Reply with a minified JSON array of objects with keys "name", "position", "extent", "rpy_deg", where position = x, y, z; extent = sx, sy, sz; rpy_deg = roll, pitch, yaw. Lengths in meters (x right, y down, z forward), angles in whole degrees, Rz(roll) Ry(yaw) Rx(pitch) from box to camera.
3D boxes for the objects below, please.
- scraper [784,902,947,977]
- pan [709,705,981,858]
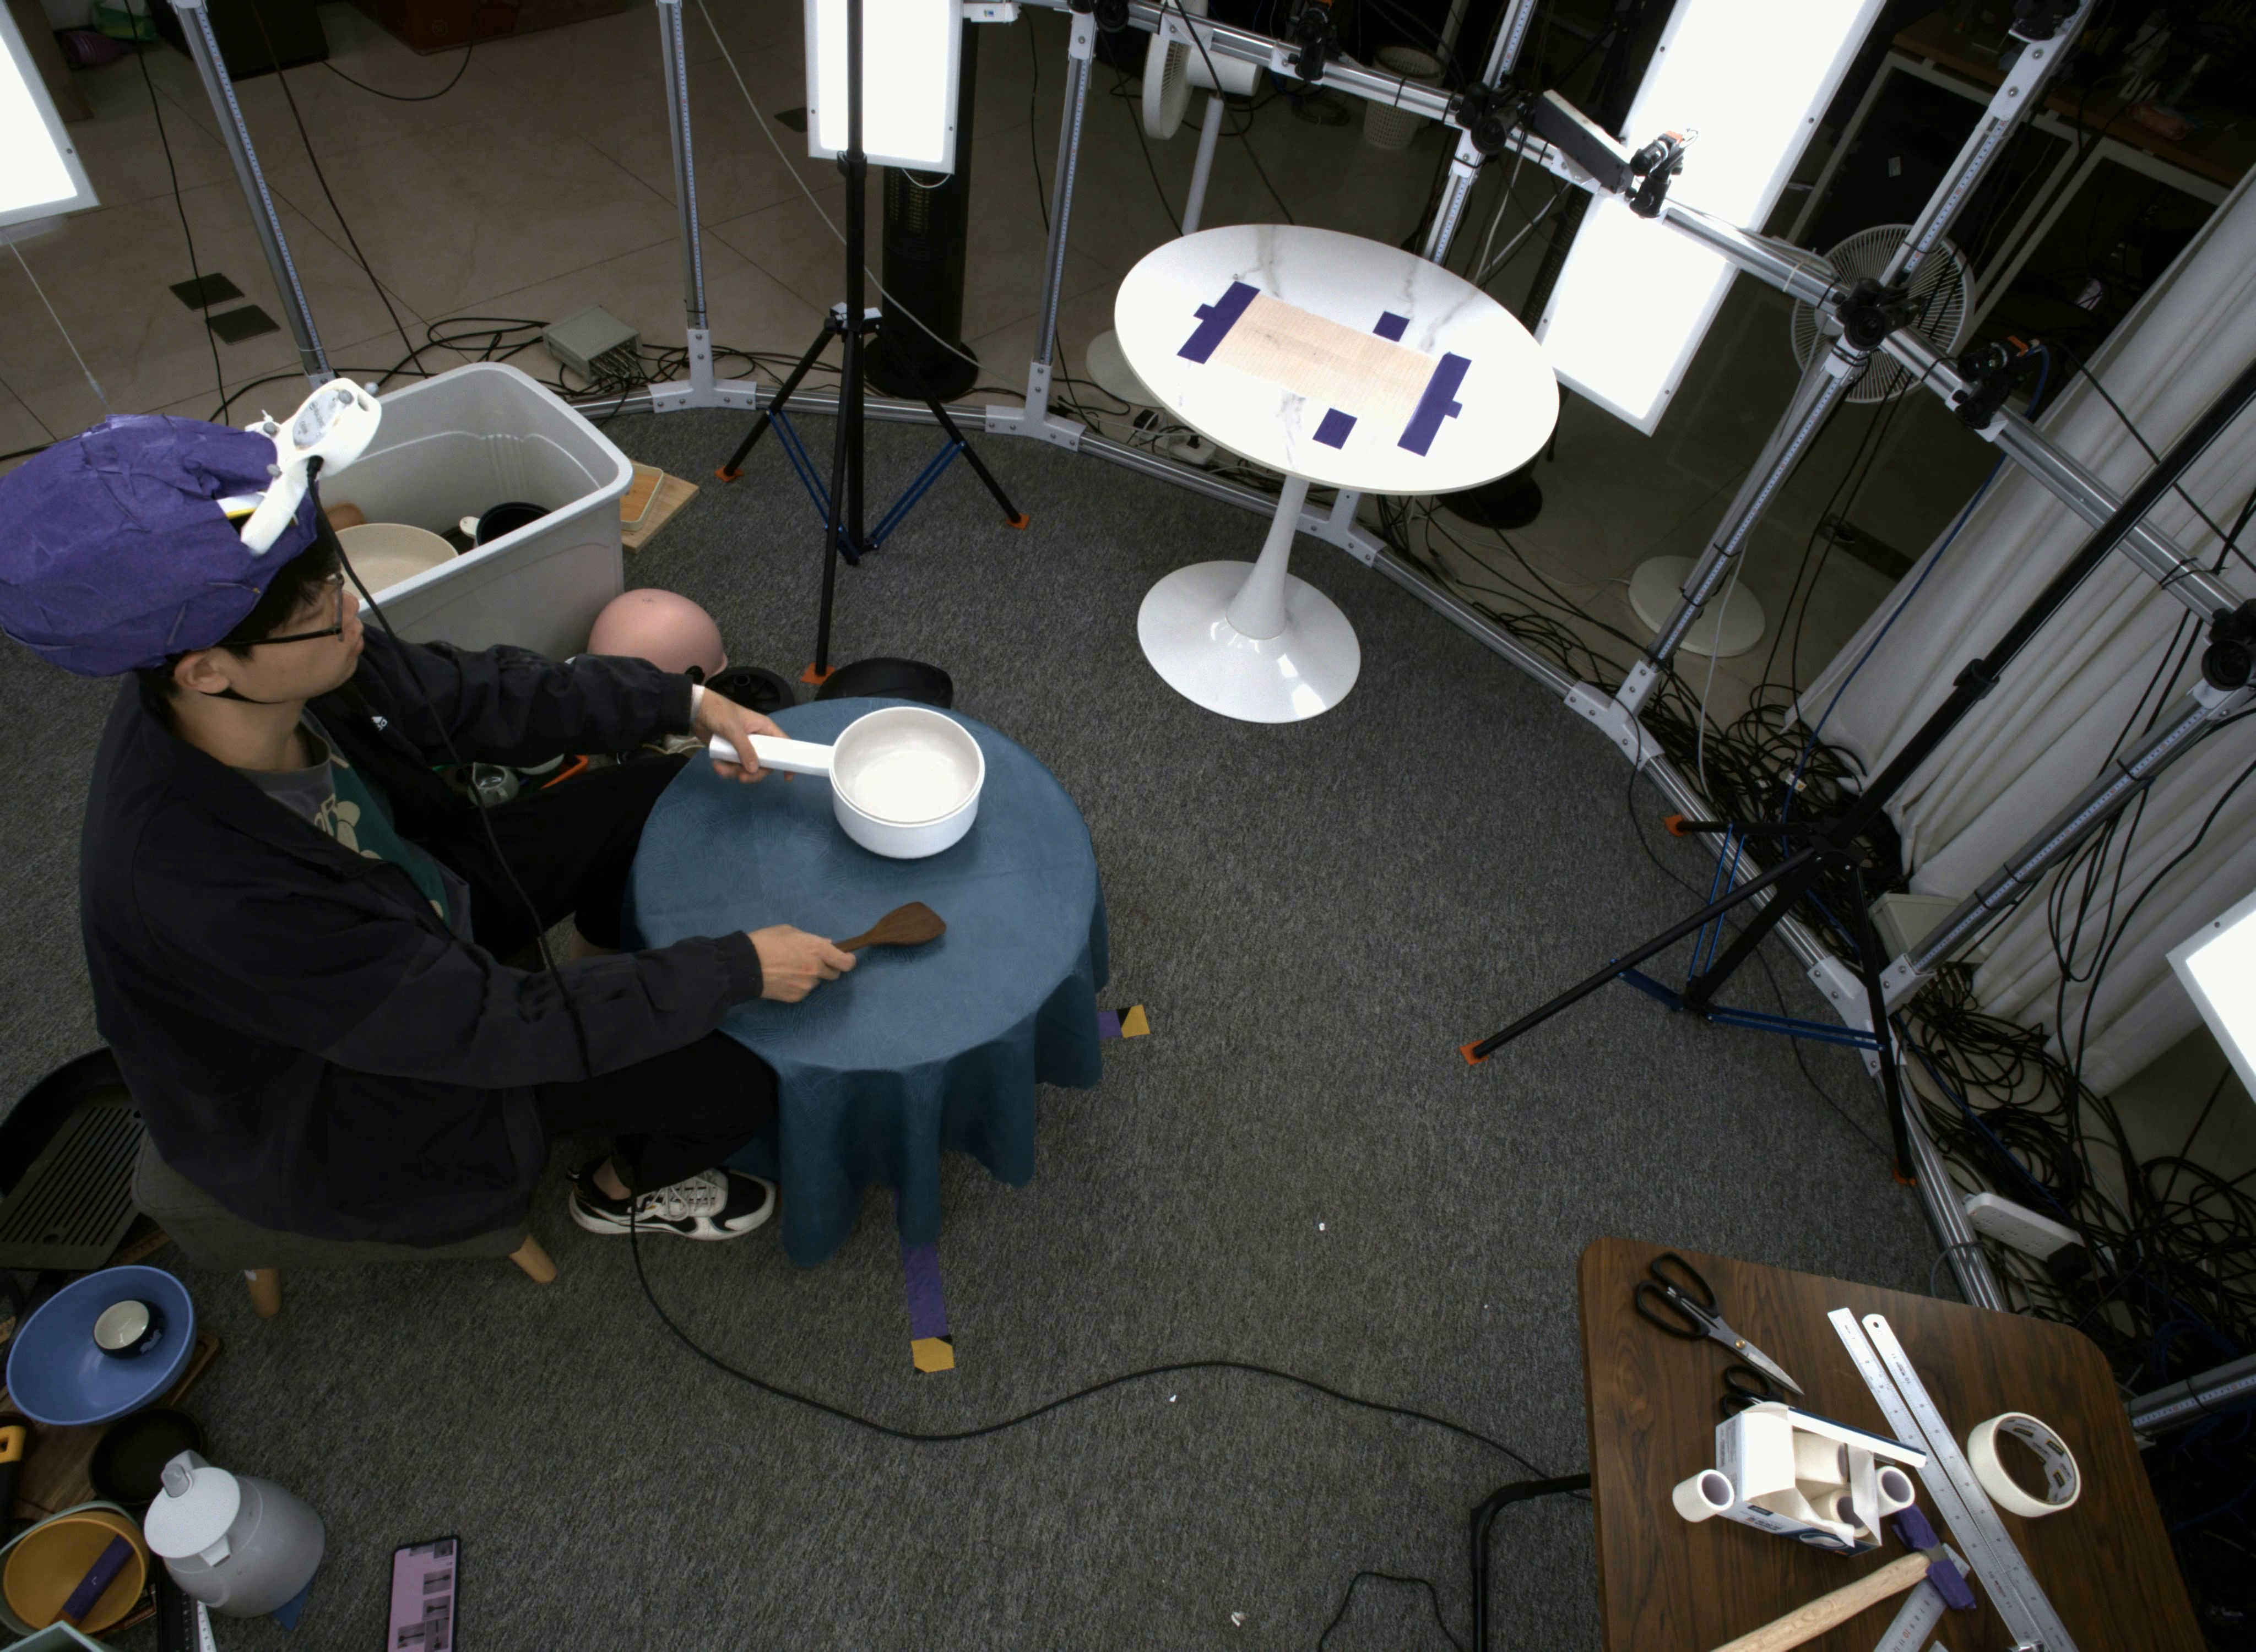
[{"name":"scraper","position":[-0.327,0.144,1.612],"extent":[0.213,0.011,0.073],"rpy_deg":[-19,46,-36]},{"name":"pan","position":[-0.372,-0.065,1.723],"extent":[0.353,0.104,0.198],"rpy_deg":[8,53,-6]}]
